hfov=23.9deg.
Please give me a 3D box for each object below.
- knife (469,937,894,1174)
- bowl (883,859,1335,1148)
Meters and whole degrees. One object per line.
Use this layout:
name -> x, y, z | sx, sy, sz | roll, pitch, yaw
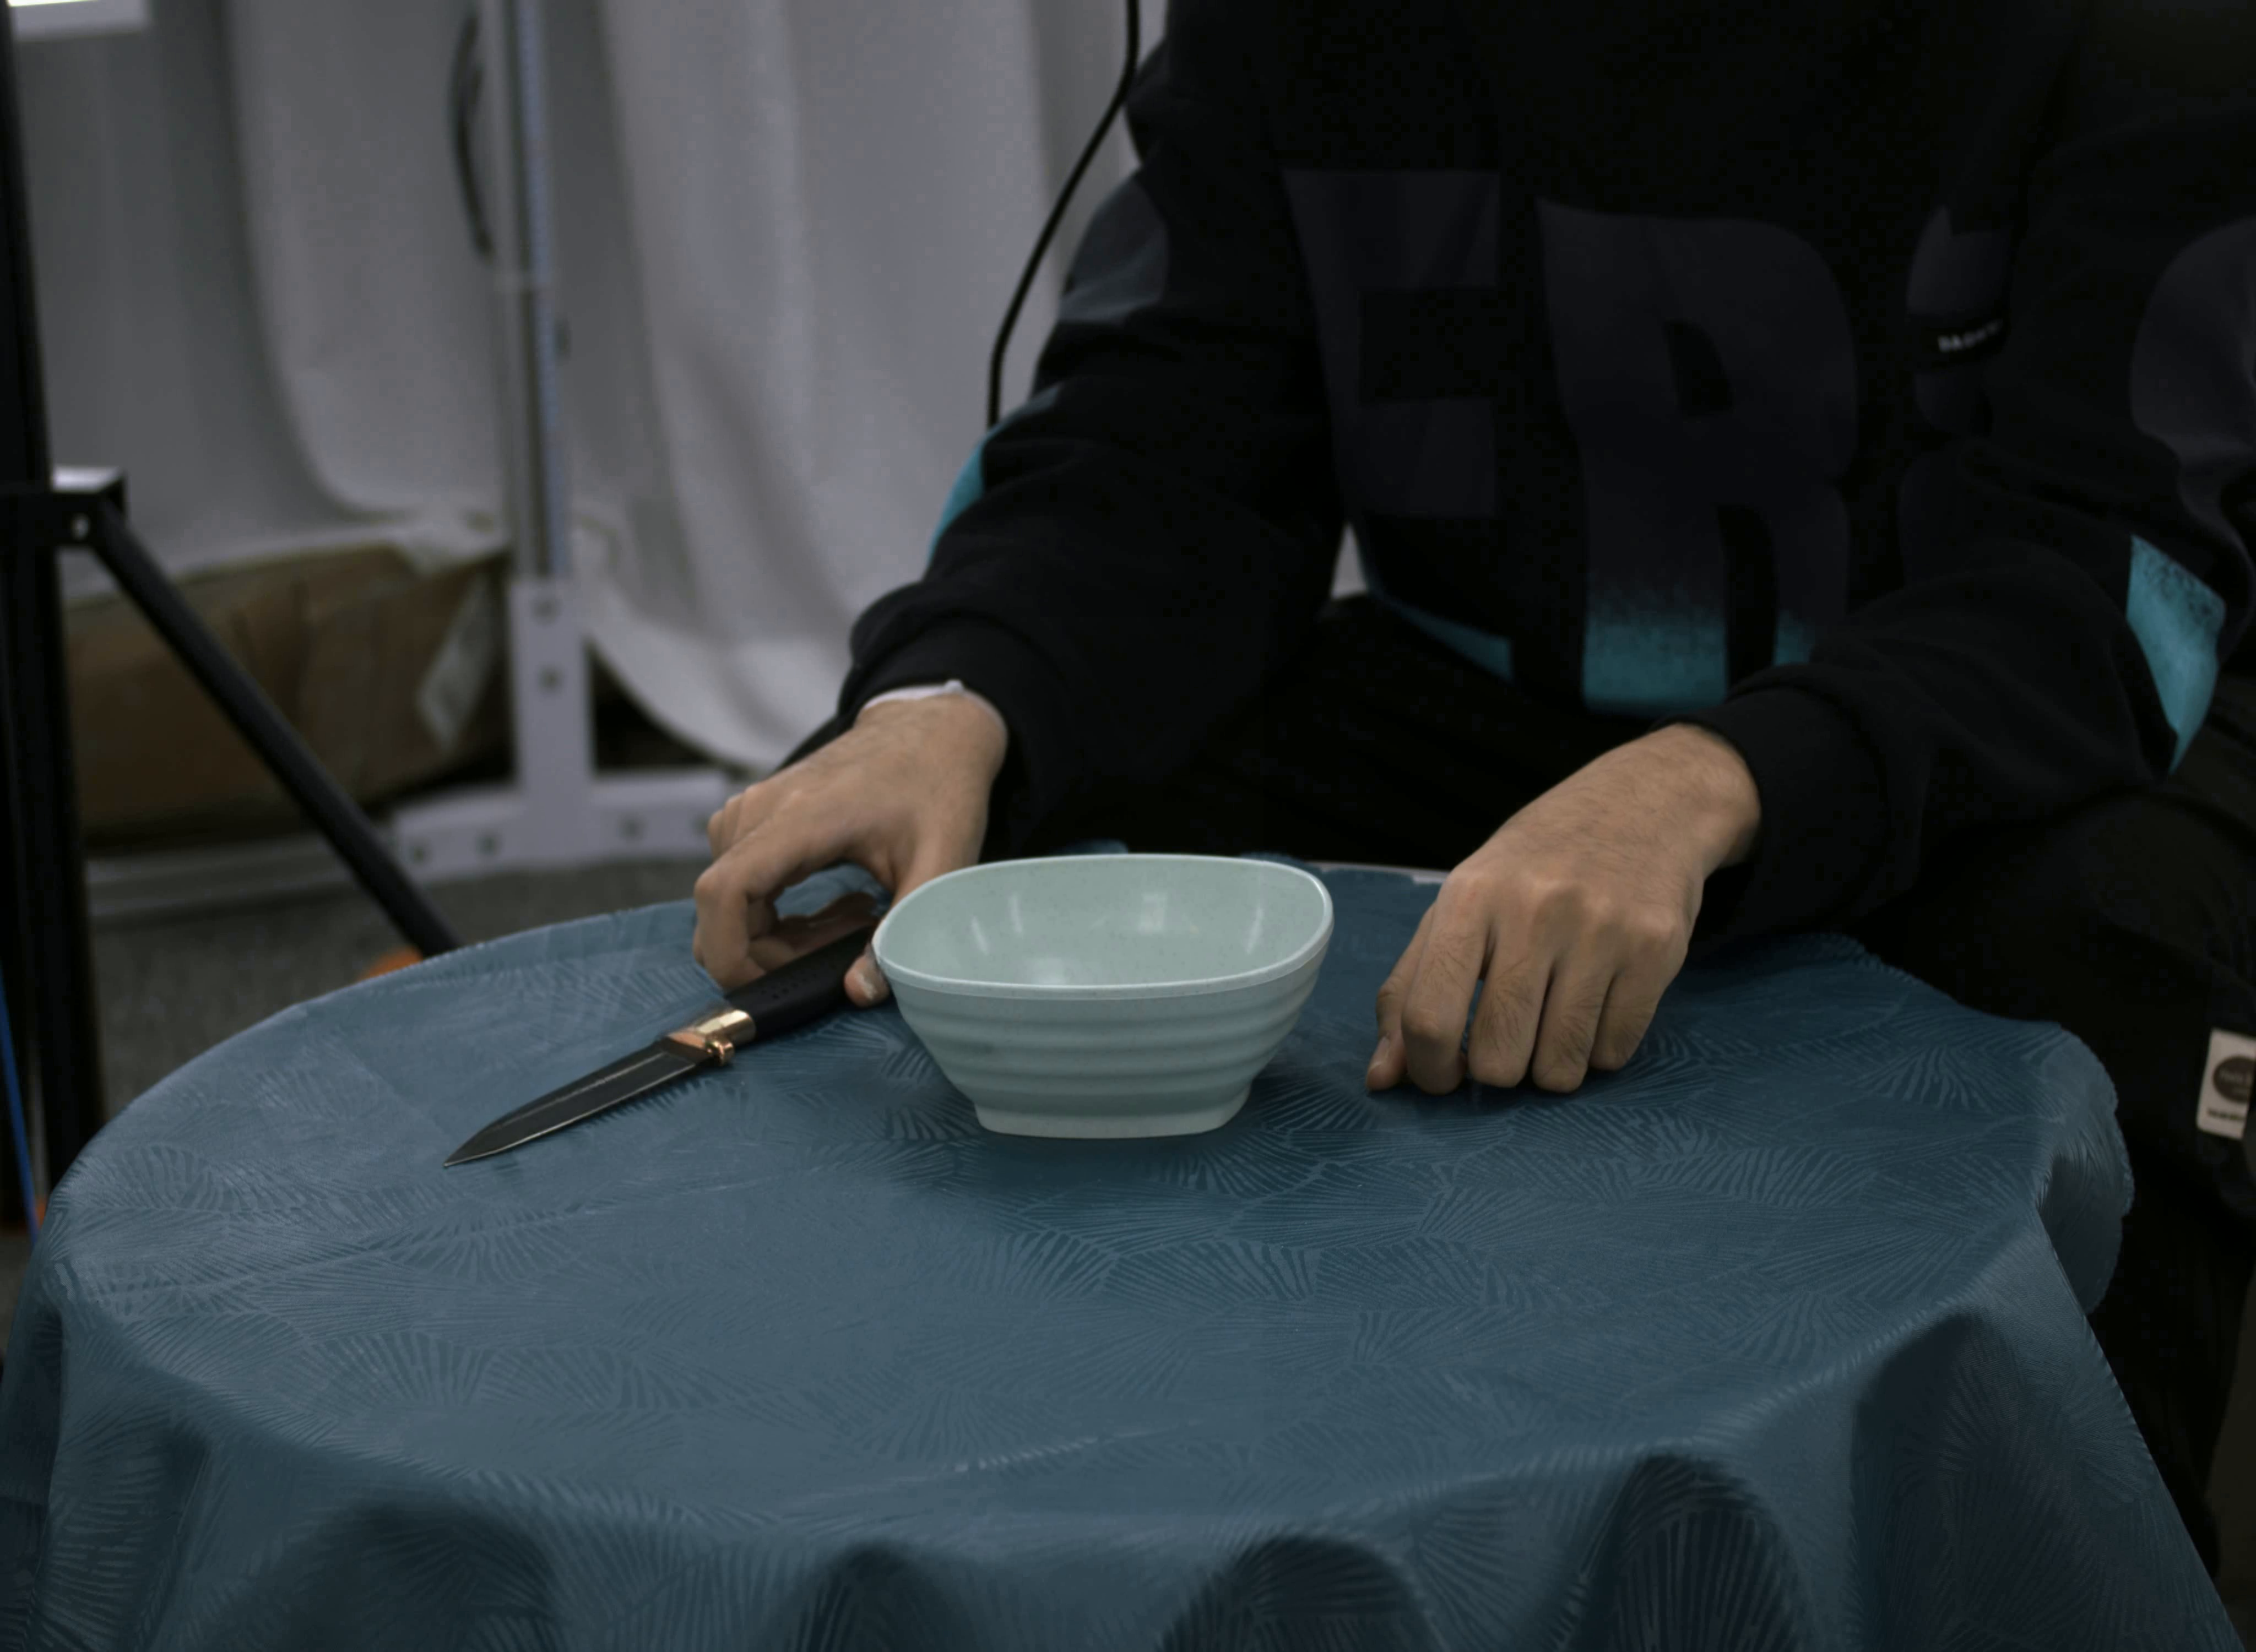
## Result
knife -> -0.139, 0.072, 1.689 | 0.027, 0.017, 0.221 | 16, 25, 32
bowl -> -0.004, 0.058, 1.636 | 0.151, 0.058, 0.152 | -4, 16, 0
